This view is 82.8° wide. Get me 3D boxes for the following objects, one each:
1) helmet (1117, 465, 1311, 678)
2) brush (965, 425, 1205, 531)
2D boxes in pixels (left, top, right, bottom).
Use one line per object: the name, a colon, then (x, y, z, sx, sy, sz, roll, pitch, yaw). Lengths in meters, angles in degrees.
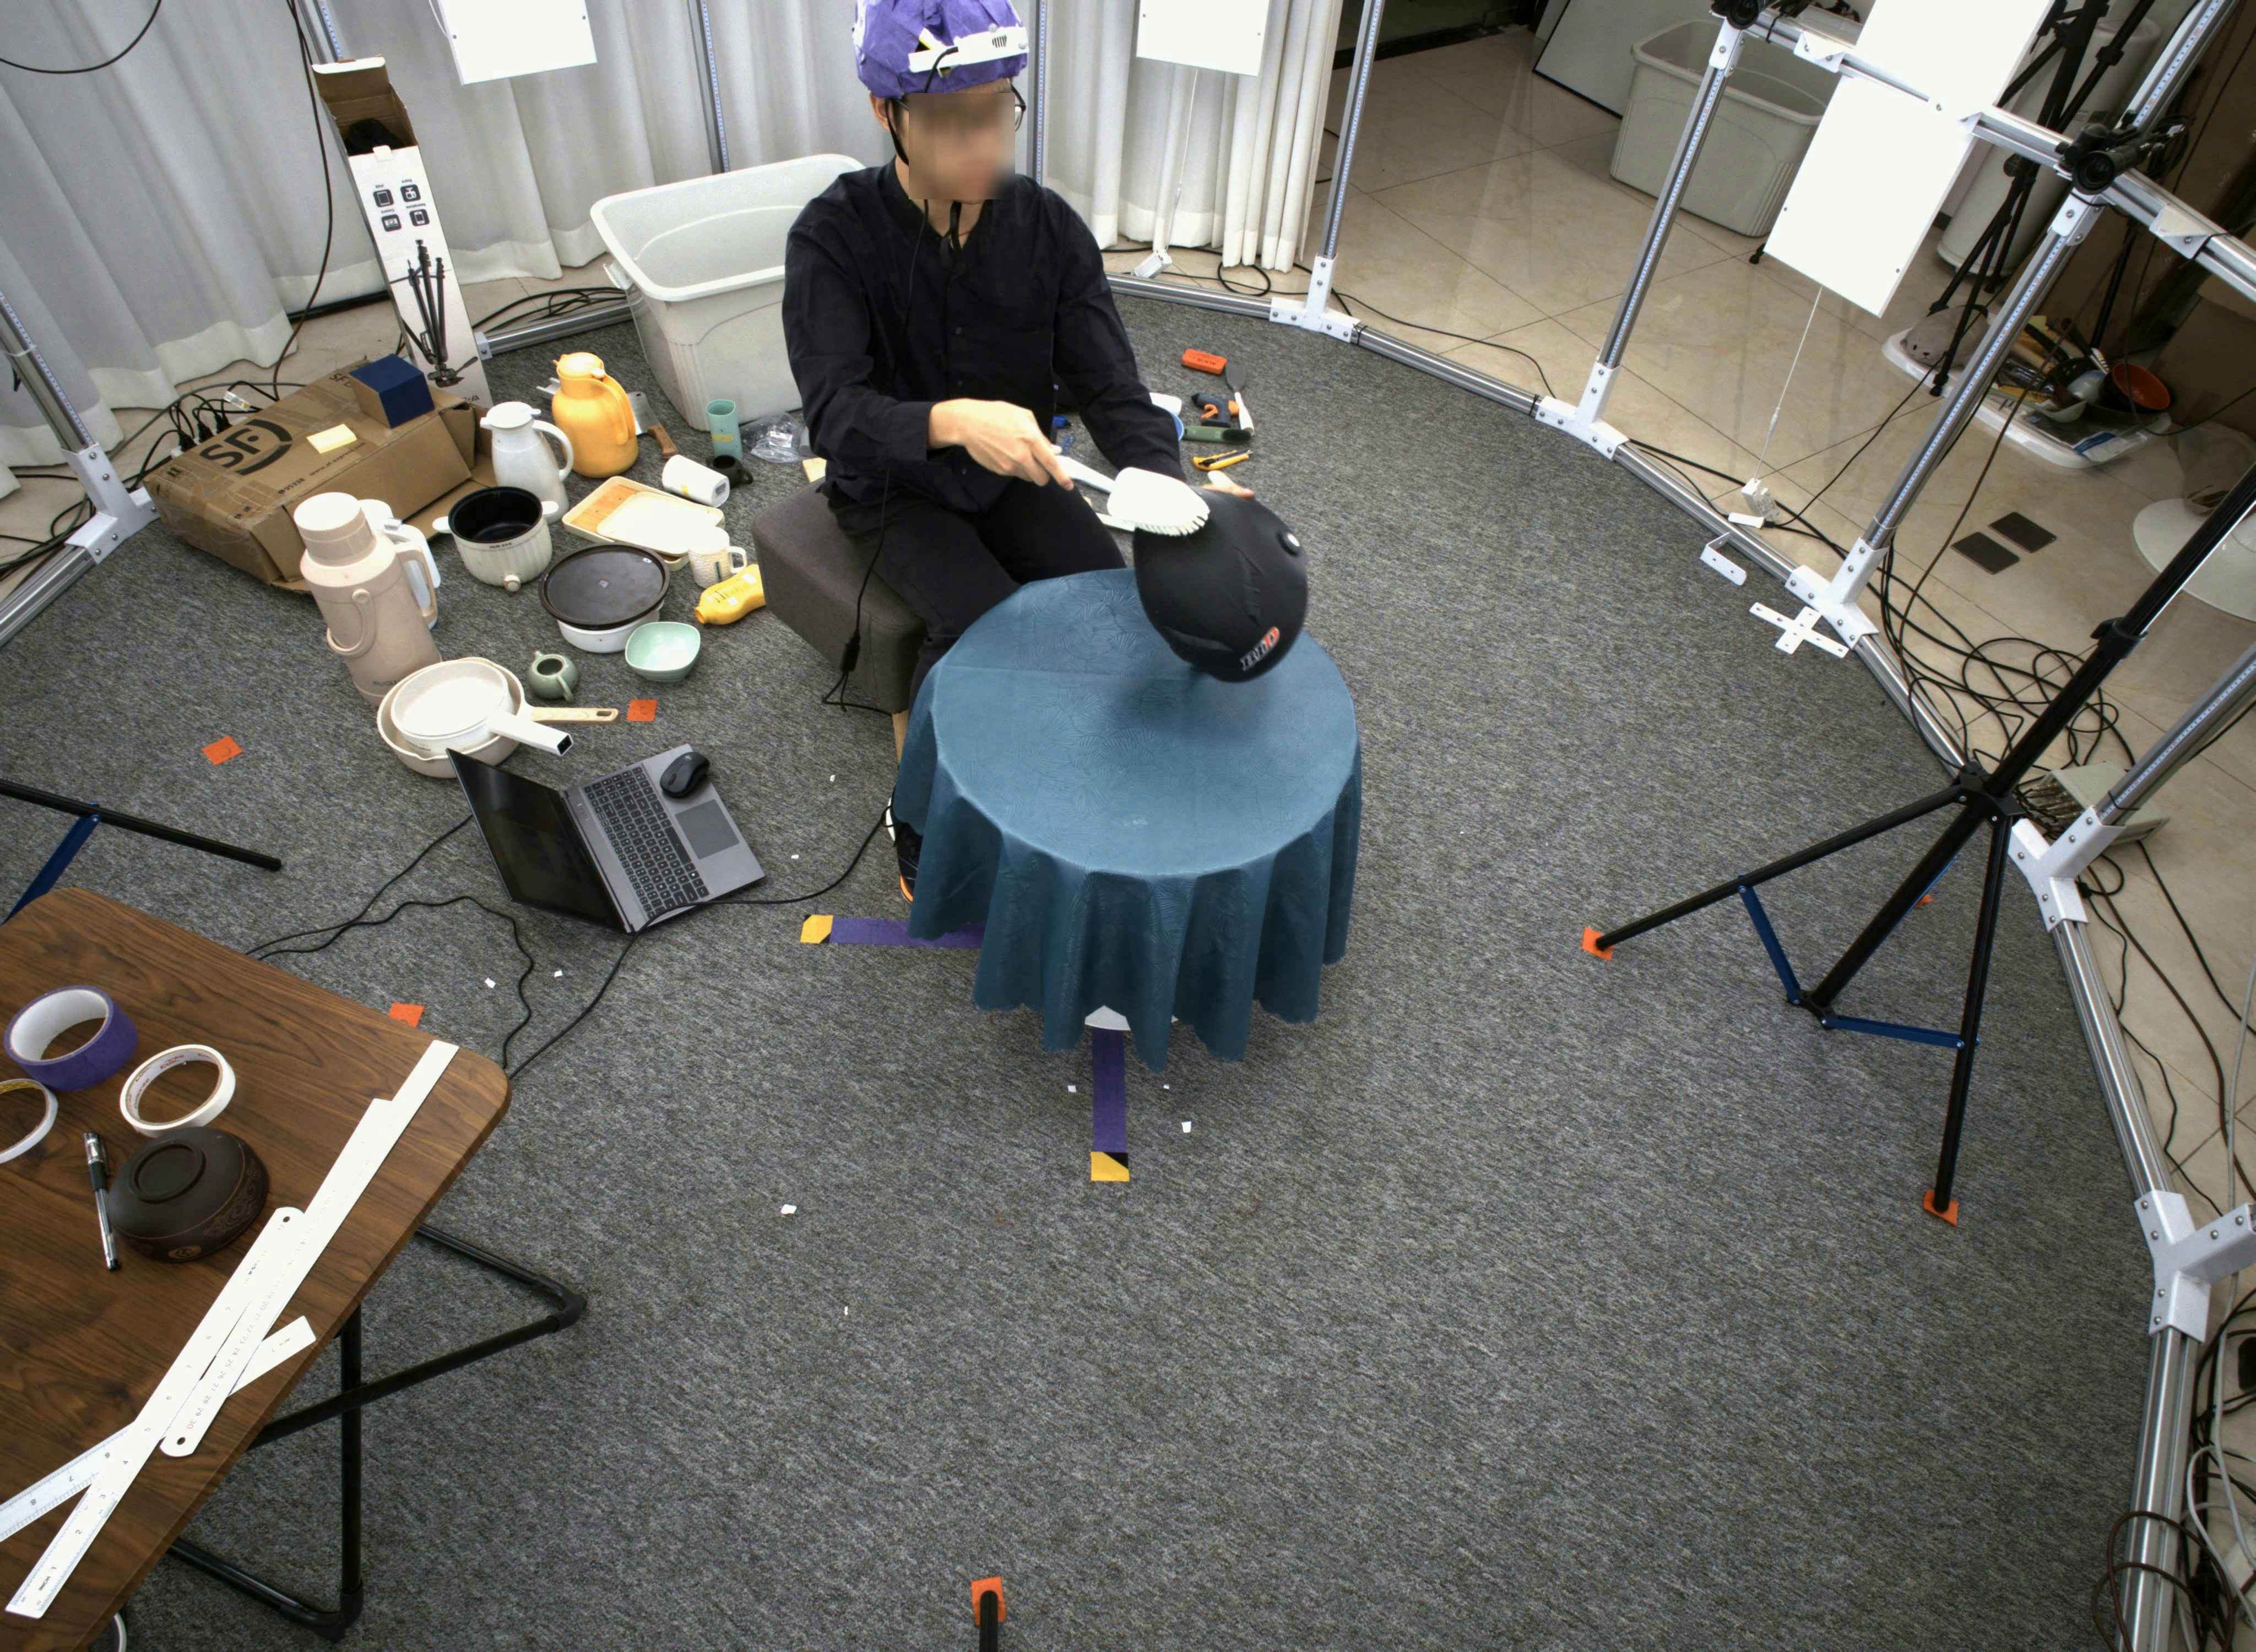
helmet: (0.103, -0.341, 1.713, 0.171, 0.243, 0.283, 12, 43, -44)
brush: (-0.053, -0.452, 1.663, 0.327, 0.082, 0.084, 20, 53, 12)
